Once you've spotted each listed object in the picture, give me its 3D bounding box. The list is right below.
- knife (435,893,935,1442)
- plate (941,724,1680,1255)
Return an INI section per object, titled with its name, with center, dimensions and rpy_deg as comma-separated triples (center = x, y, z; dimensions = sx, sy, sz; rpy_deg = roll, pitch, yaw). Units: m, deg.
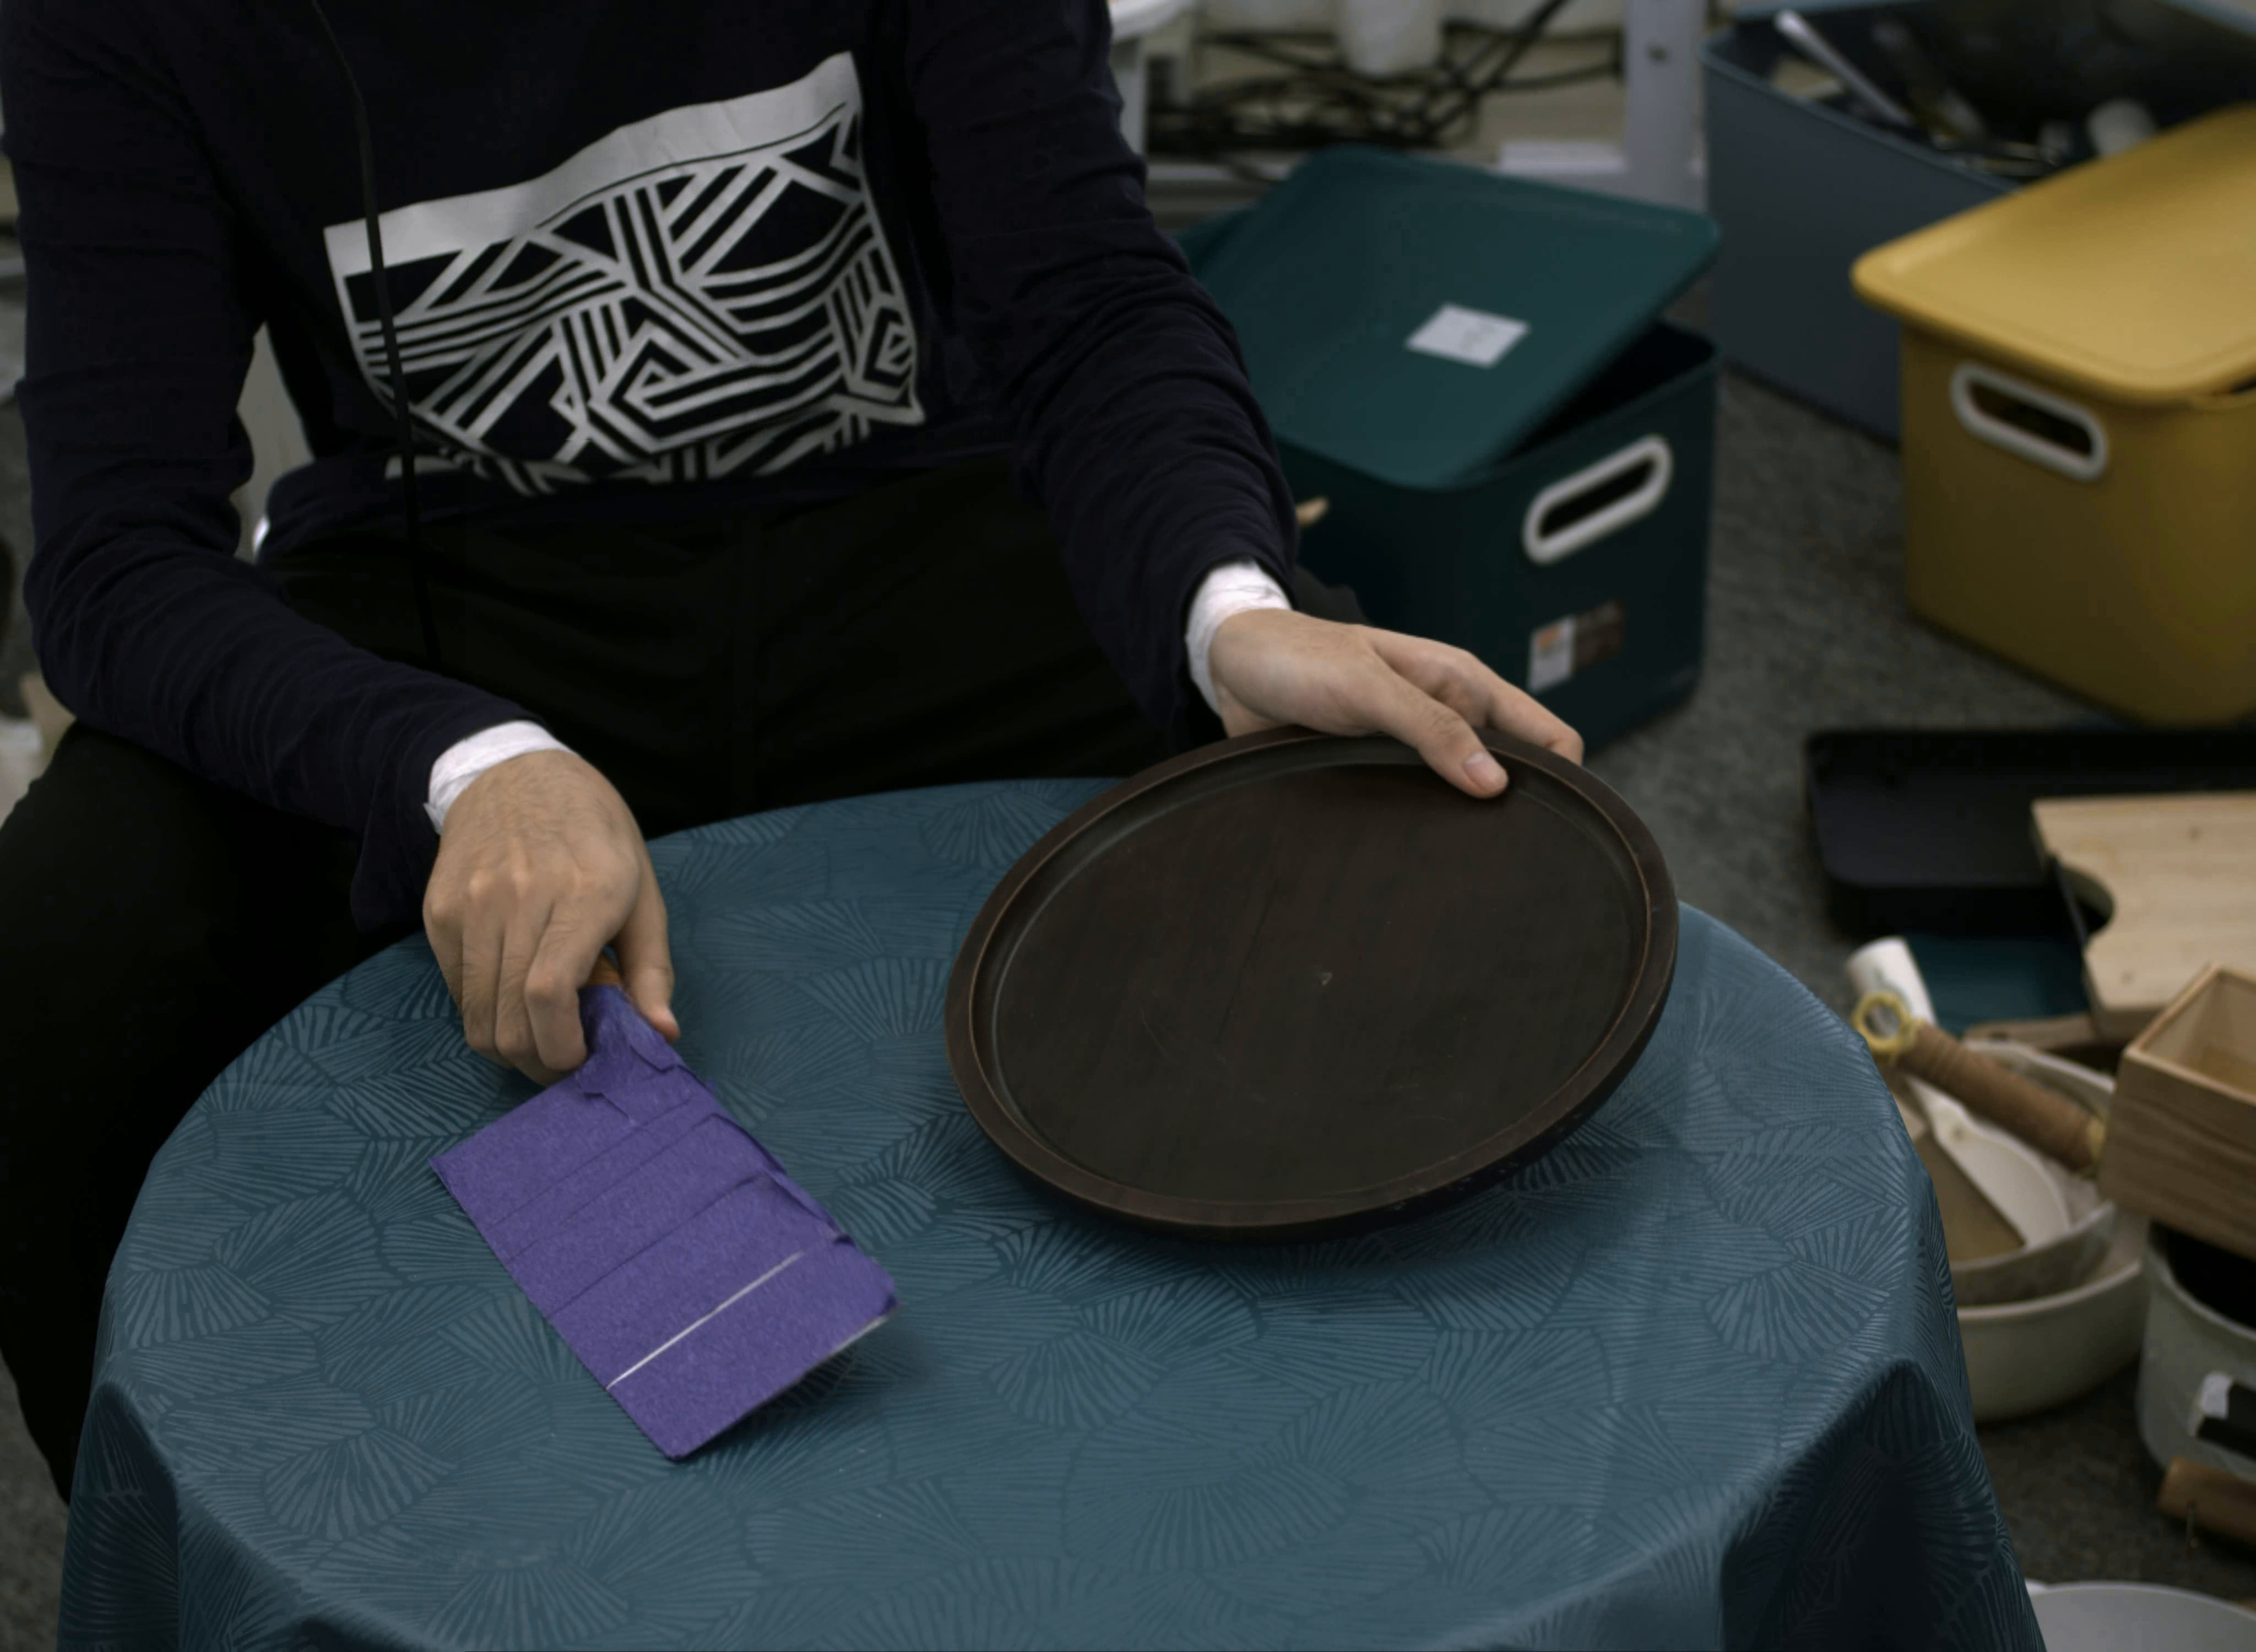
[knife]
center = -0.175, 0.109, 1.859
dimensions = 0.104, 0.032, 0.317
rpy_deg = -29, 33, -16
[plate]
center = 0.061, 0.053, 1.896
dimensions = 0.253, 0.028, 0.260
rpy_deg = -8, 40, 7
